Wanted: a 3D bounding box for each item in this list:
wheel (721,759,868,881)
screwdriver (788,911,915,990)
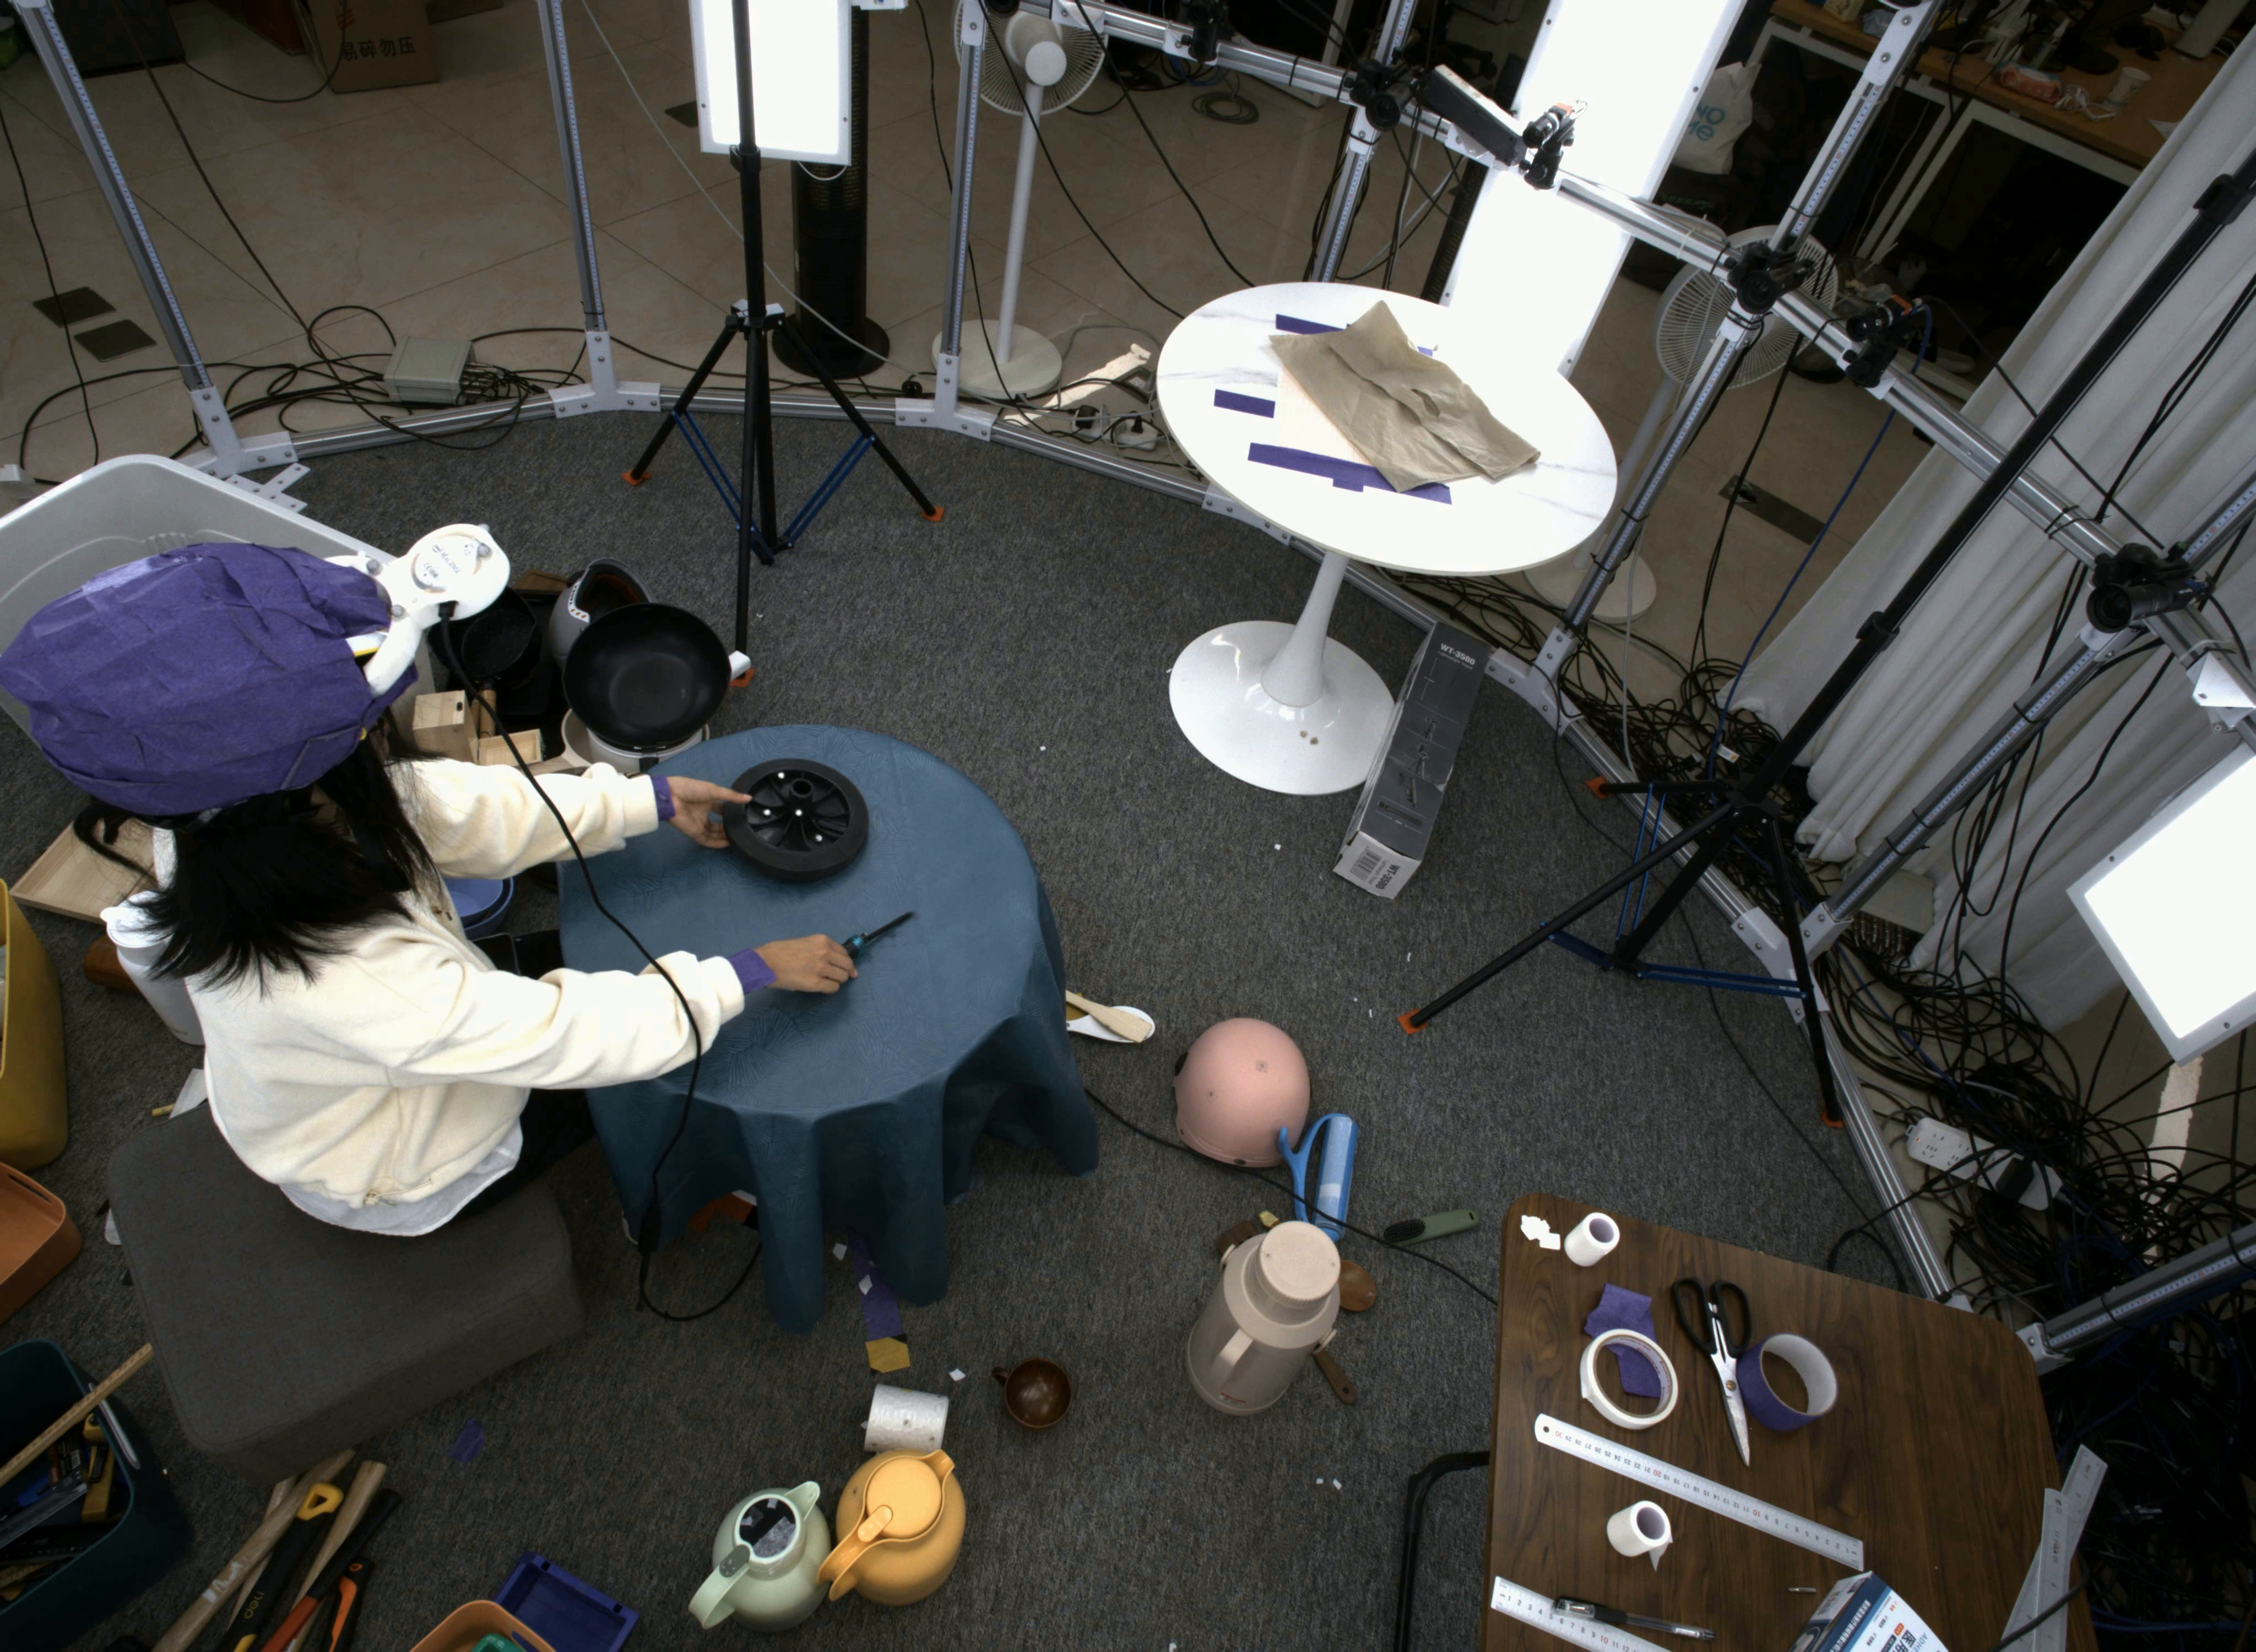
[{"bbox_3d":[-0.429,-0.024,1.681,0.192,0.080,0.183,0,54,-27],"label":"wheel"},{"bbox_3d":[-0.339,0.148,1.615,0.033,0.034,0.191,42,47,20],"label":"screwdriver"}]
